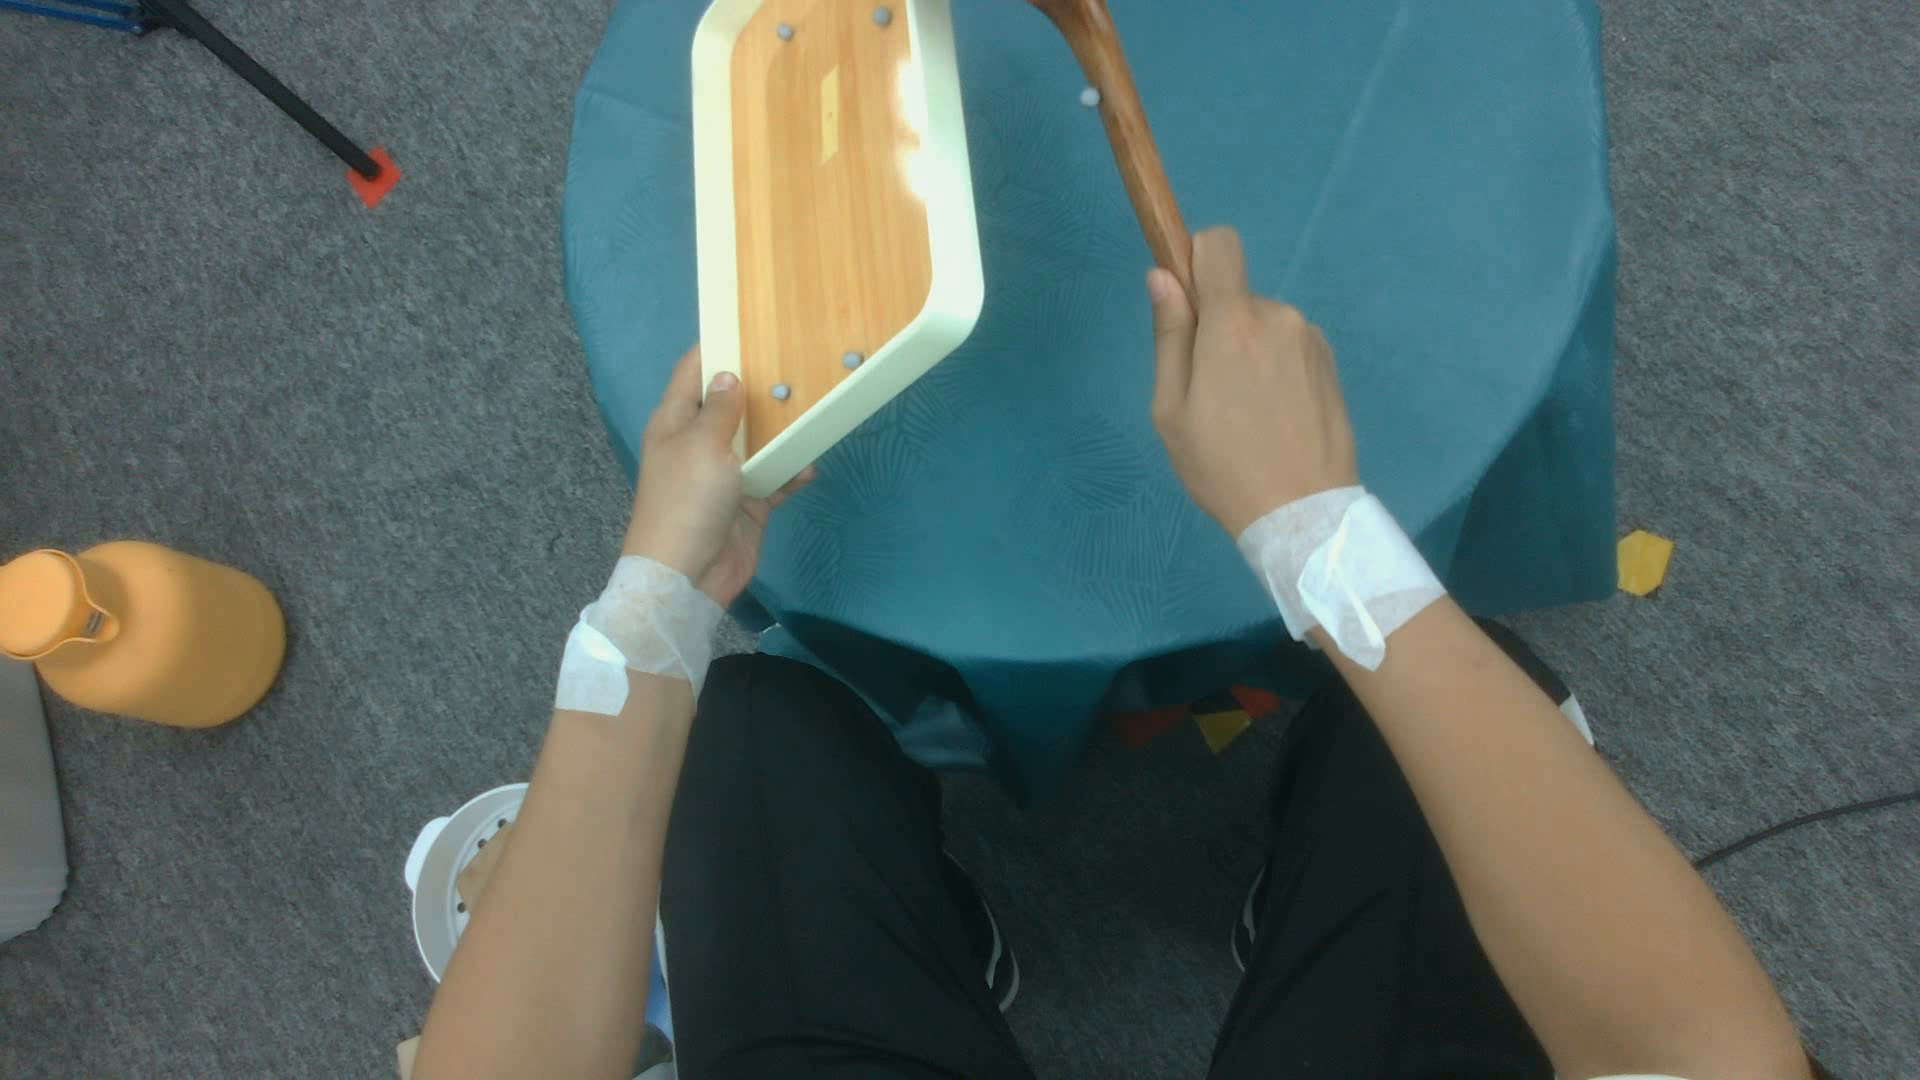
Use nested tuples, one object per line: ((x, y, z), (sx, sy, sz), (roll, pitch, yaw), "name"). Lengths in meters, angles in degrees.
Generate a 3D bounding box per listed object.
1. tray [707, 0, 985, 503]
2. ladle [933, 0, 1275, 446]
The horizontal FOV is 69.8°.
((-0.067, -0.185, 0.683), (0.190, 0.027, 0.301), (-33, 54, 44), "tray")
((0.052, -0.153, 0.600), (0.077, 0.082, 0.274), (-26, 97, -9), "ladle")
